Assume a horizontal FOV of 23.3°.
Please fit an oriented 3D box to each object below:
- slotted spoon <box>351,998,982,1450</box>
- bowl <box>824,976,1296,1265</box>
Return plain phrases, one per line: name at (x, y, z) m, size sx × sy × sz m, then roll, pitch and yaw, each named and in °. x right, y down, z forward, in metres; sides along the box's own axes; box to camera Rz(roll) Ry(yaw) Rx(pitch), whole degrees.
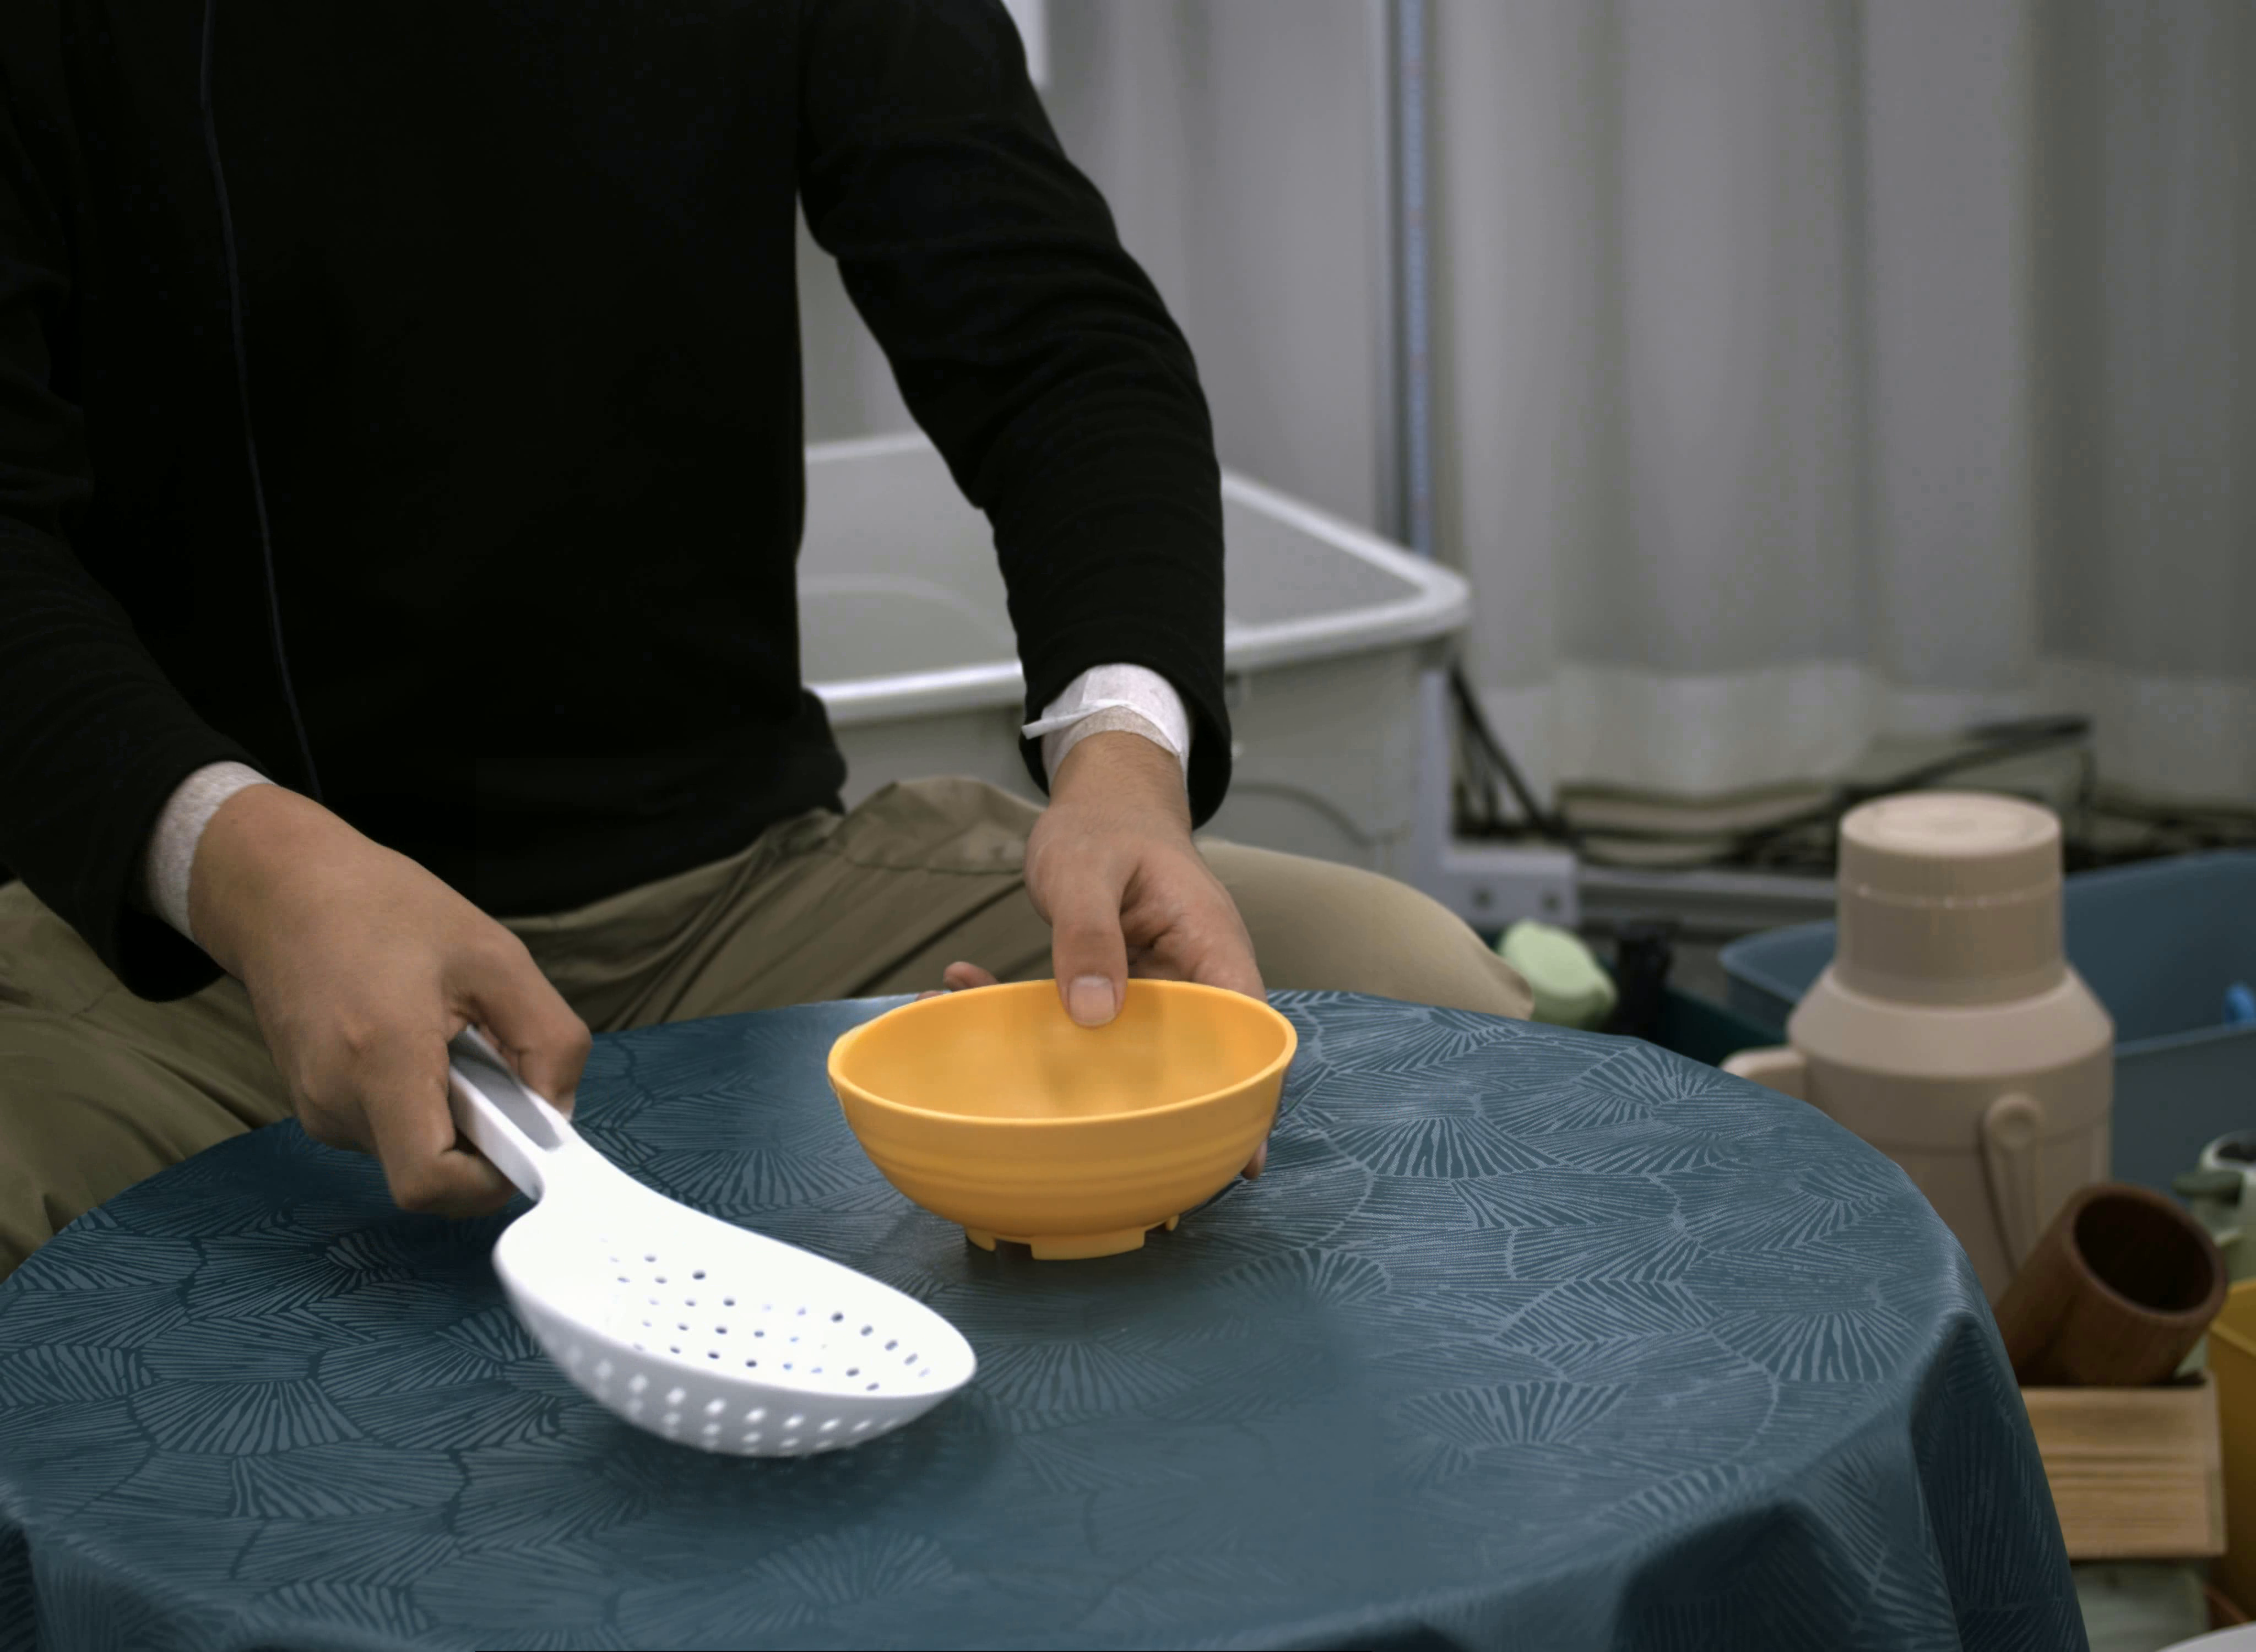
slotted spoon at (-0.158, 0.108, 1.601) m, size 0.135 × 0.045 × 0.353 m, roll 12°, pitch 14°, yaw -31°
bowl at (-0.020, 0.096, 1.680) m, size 0.145 × 0.060 × 0.146 m, roll -1°, pitch 16°, yaw 0°
